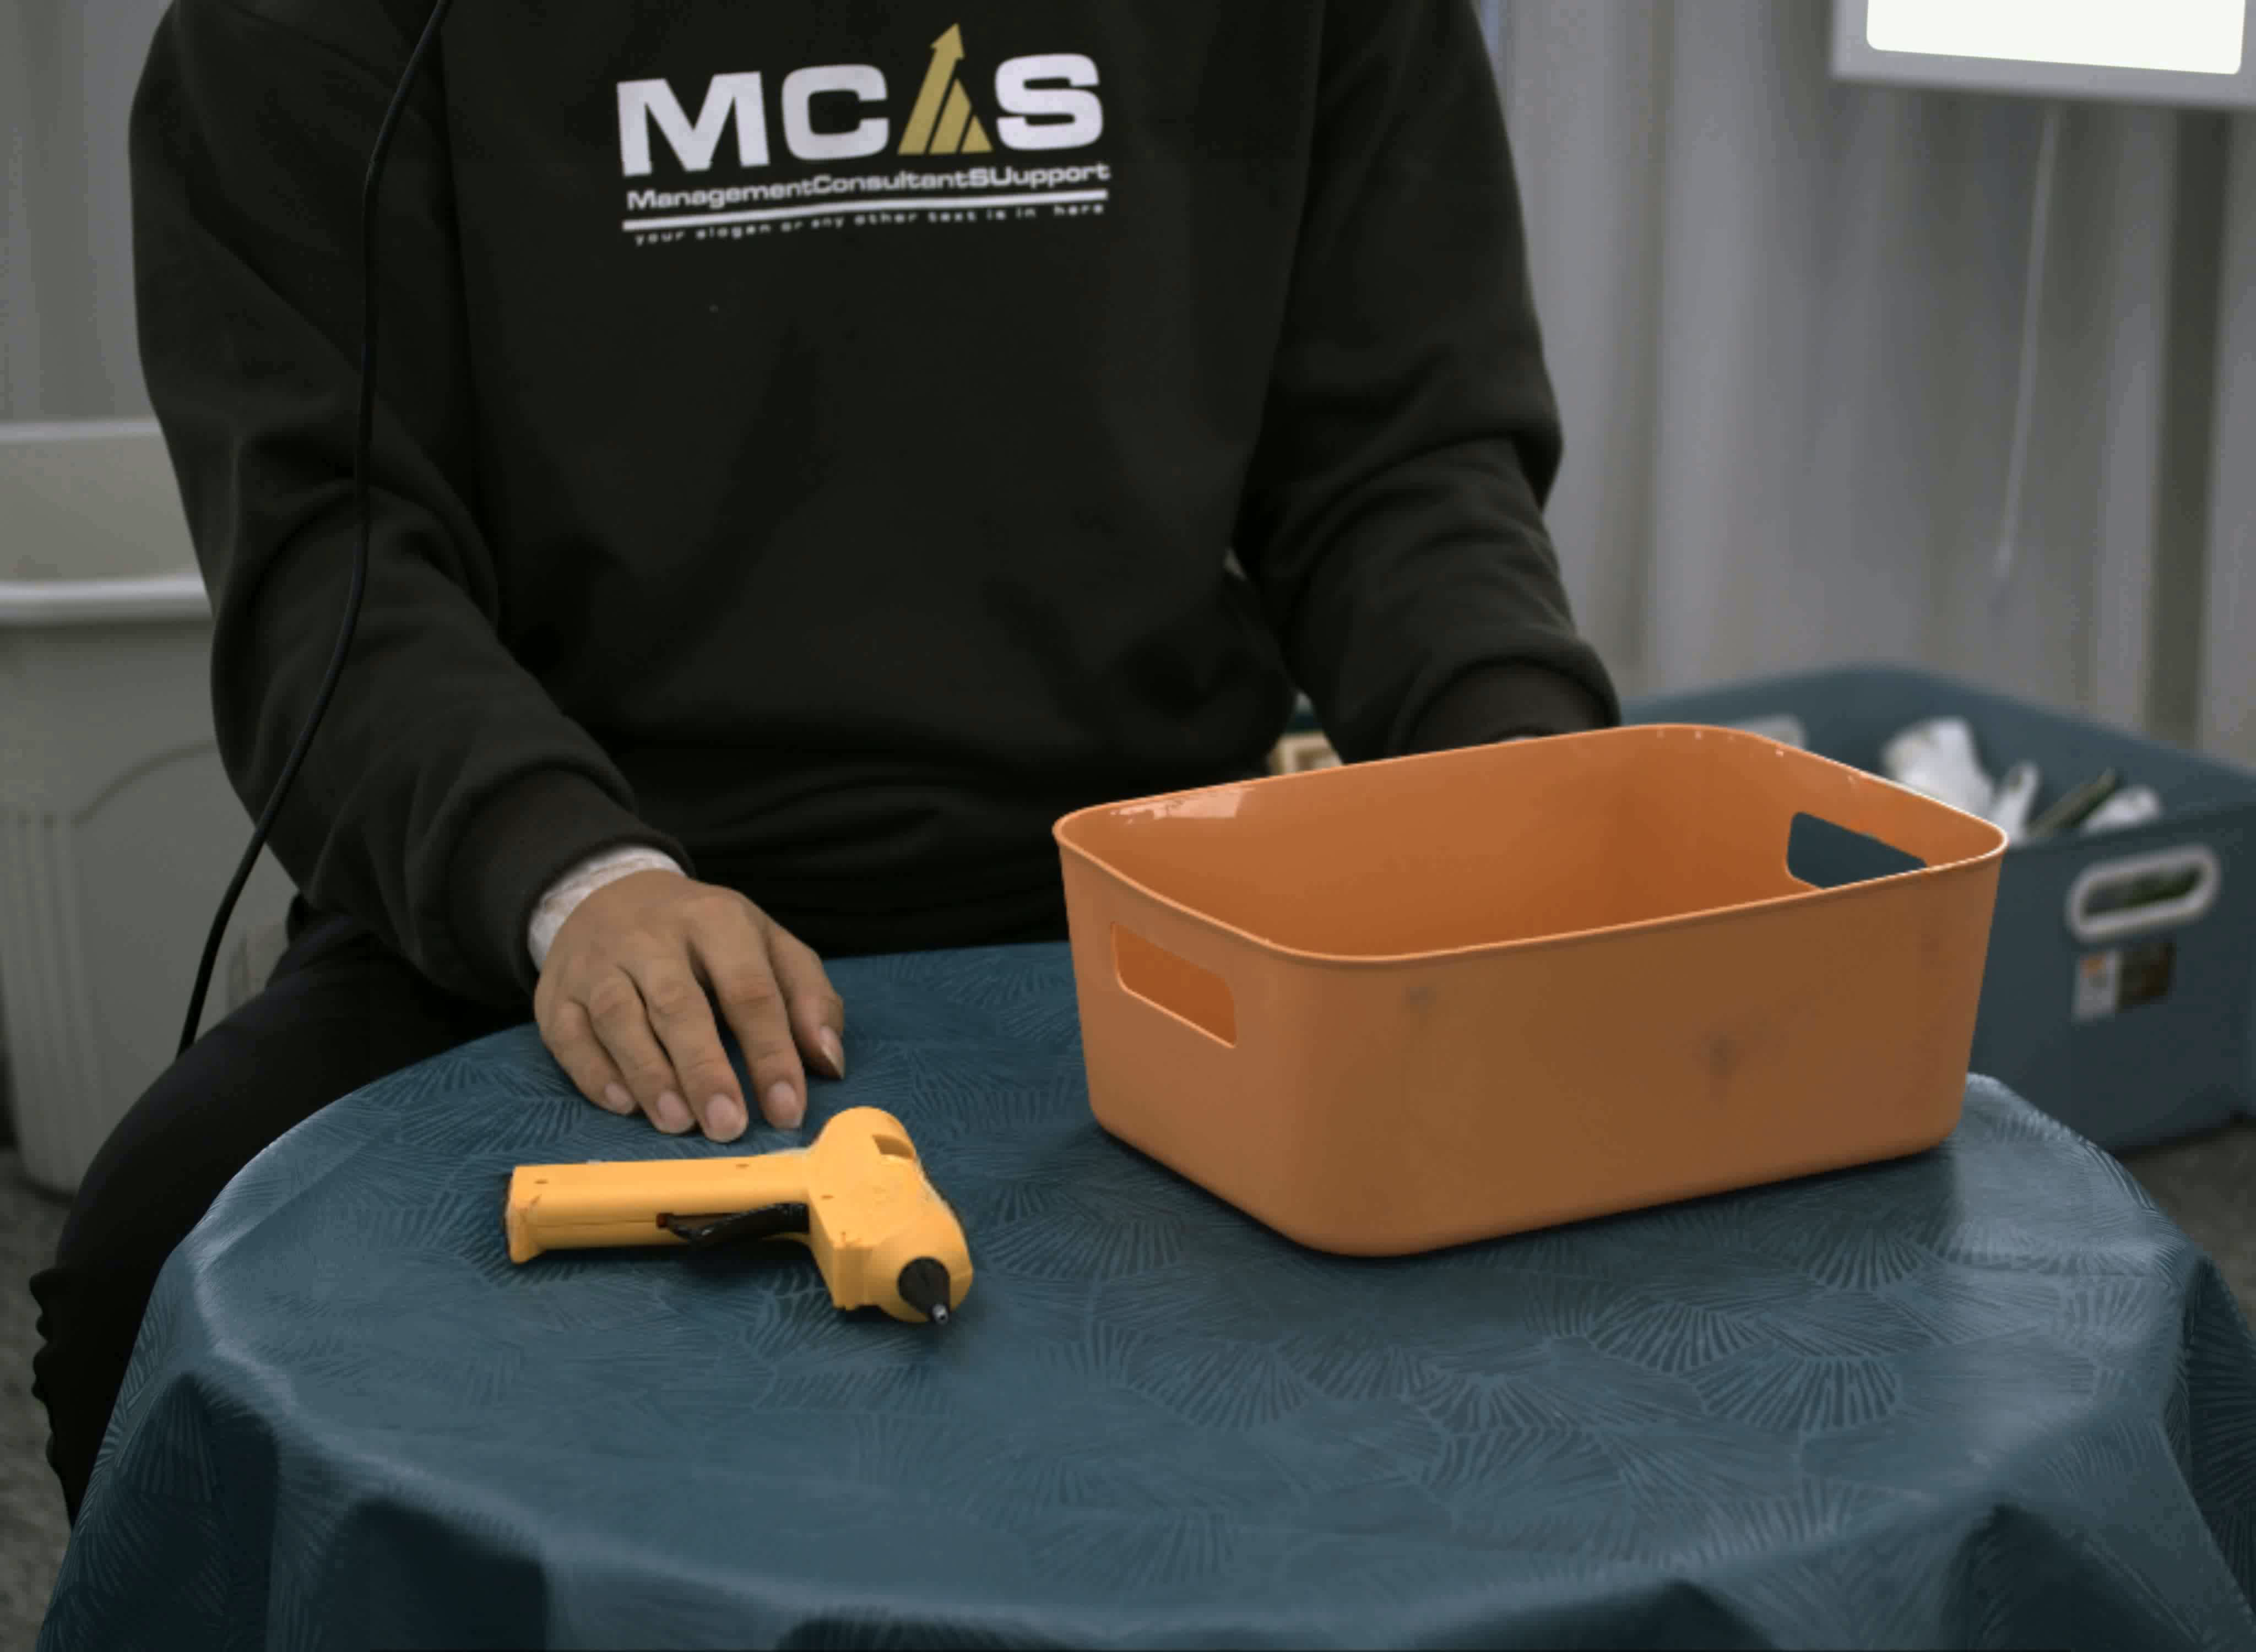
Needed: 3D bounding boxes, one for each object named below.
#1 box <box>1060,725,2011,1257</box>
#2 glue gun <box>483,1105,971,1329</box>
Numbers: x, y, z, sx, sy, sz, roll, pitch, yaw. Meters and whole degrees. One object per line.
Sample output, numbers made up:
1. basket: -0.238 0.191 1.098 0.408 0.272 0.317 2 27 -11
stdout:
1. box: 0.127 0.049 1.670 0.274 0.103 0.197 -9 18 -29
2. glue gun: -0.111 0.124 1.538 0.133 0.031 0.150 -6 18 -16
